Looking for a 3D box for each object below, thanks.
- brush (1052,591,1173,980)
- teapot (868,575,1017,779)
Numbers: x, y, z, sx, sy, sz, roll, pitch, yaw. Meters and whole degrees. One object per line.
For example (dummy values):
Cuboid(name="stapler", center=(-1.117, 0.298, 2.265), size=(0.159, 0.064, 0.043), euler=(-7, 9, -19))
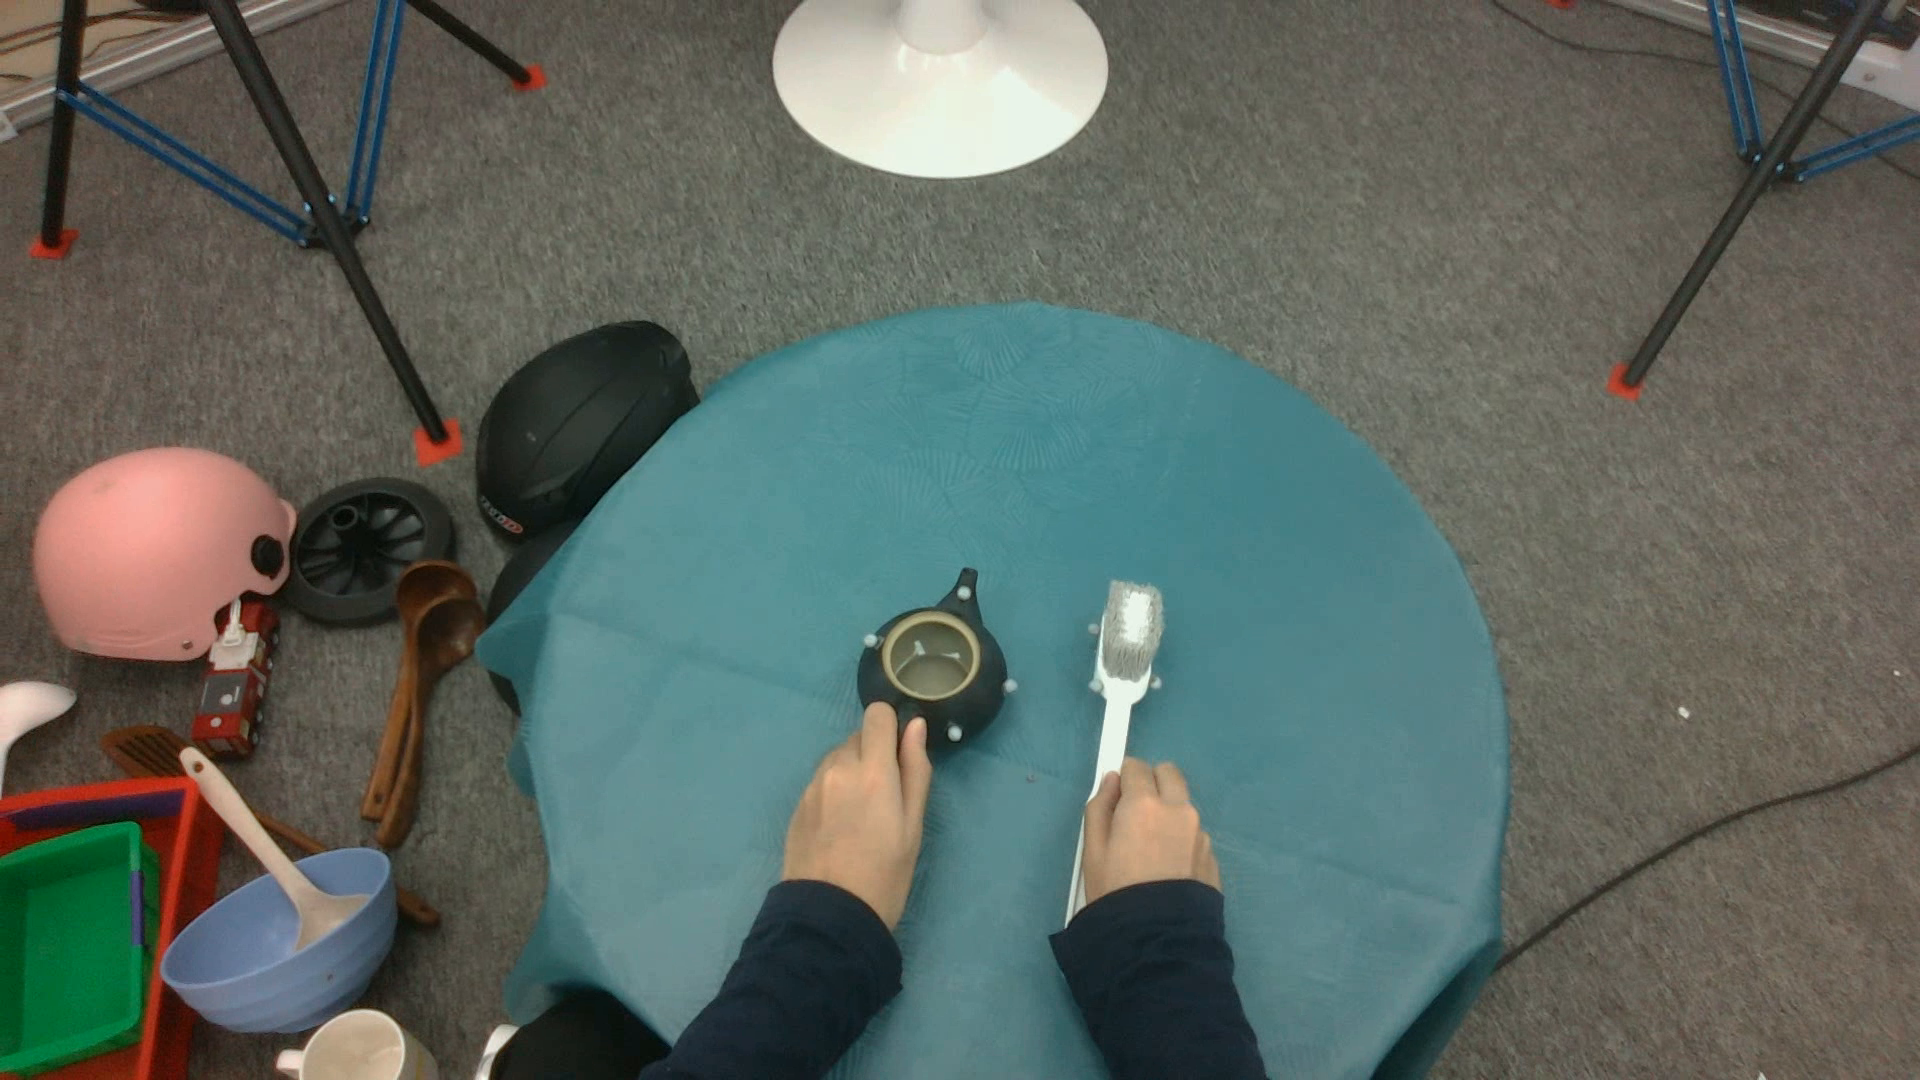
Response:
Cuboid(name="brush", center=(0.090, 0.131, 0.797), size=(0.034, 0.050, 0.245), euler=(16, 52, 2))
Cuboid(name="teapot", center=(-0.011, 0.086, 0.833), size=(0.091, 0.053, 0.134), euler=(15, 58, 13))
